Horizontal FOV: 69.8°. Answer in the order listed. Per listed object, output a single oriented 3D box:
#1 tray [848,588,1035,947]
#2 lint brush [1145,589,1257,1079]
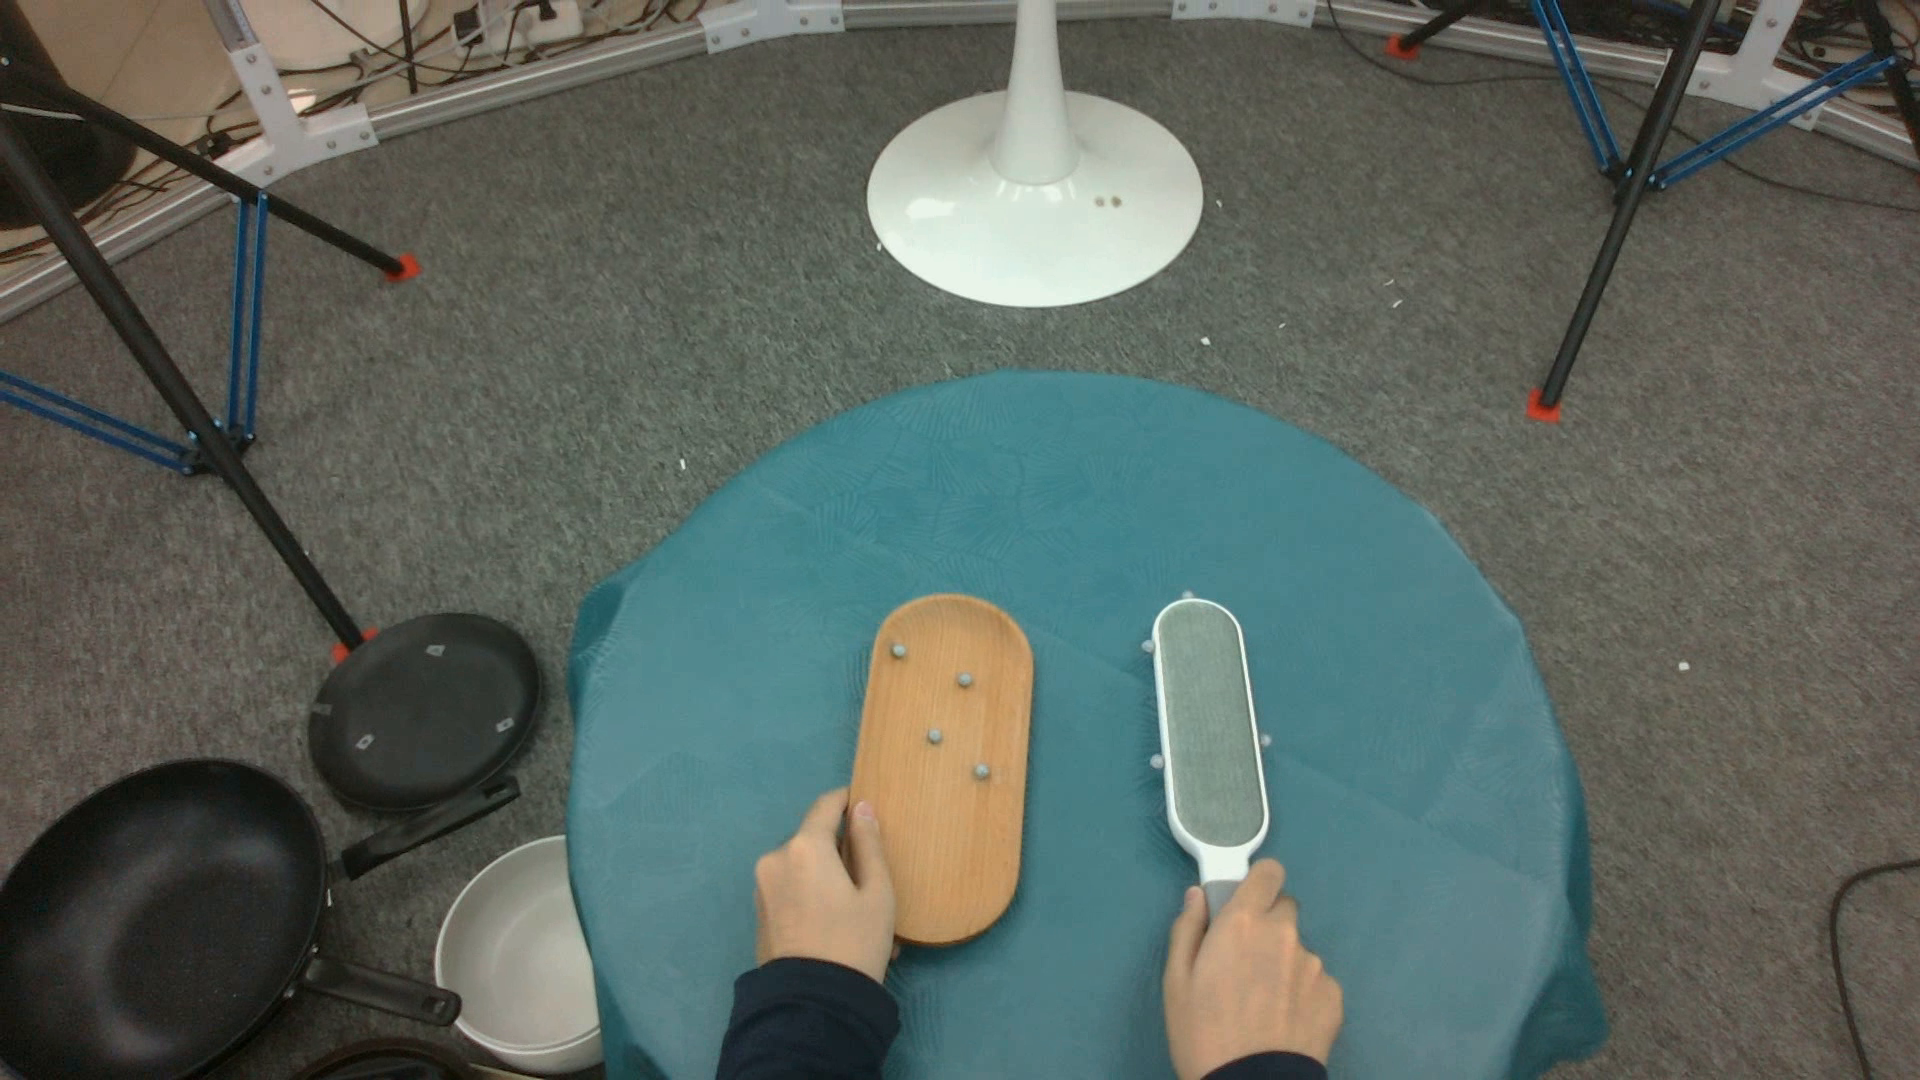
[{"bbox_3d":[-0.008,0.126,0.808,0.102,0.020,0.232,5,53,-2],"label":"tray"},{"bbox_3d":[0.139,0.150,0.780,0.060,0.021,0.310,7,48,-5],"label":"lint brush"}]
